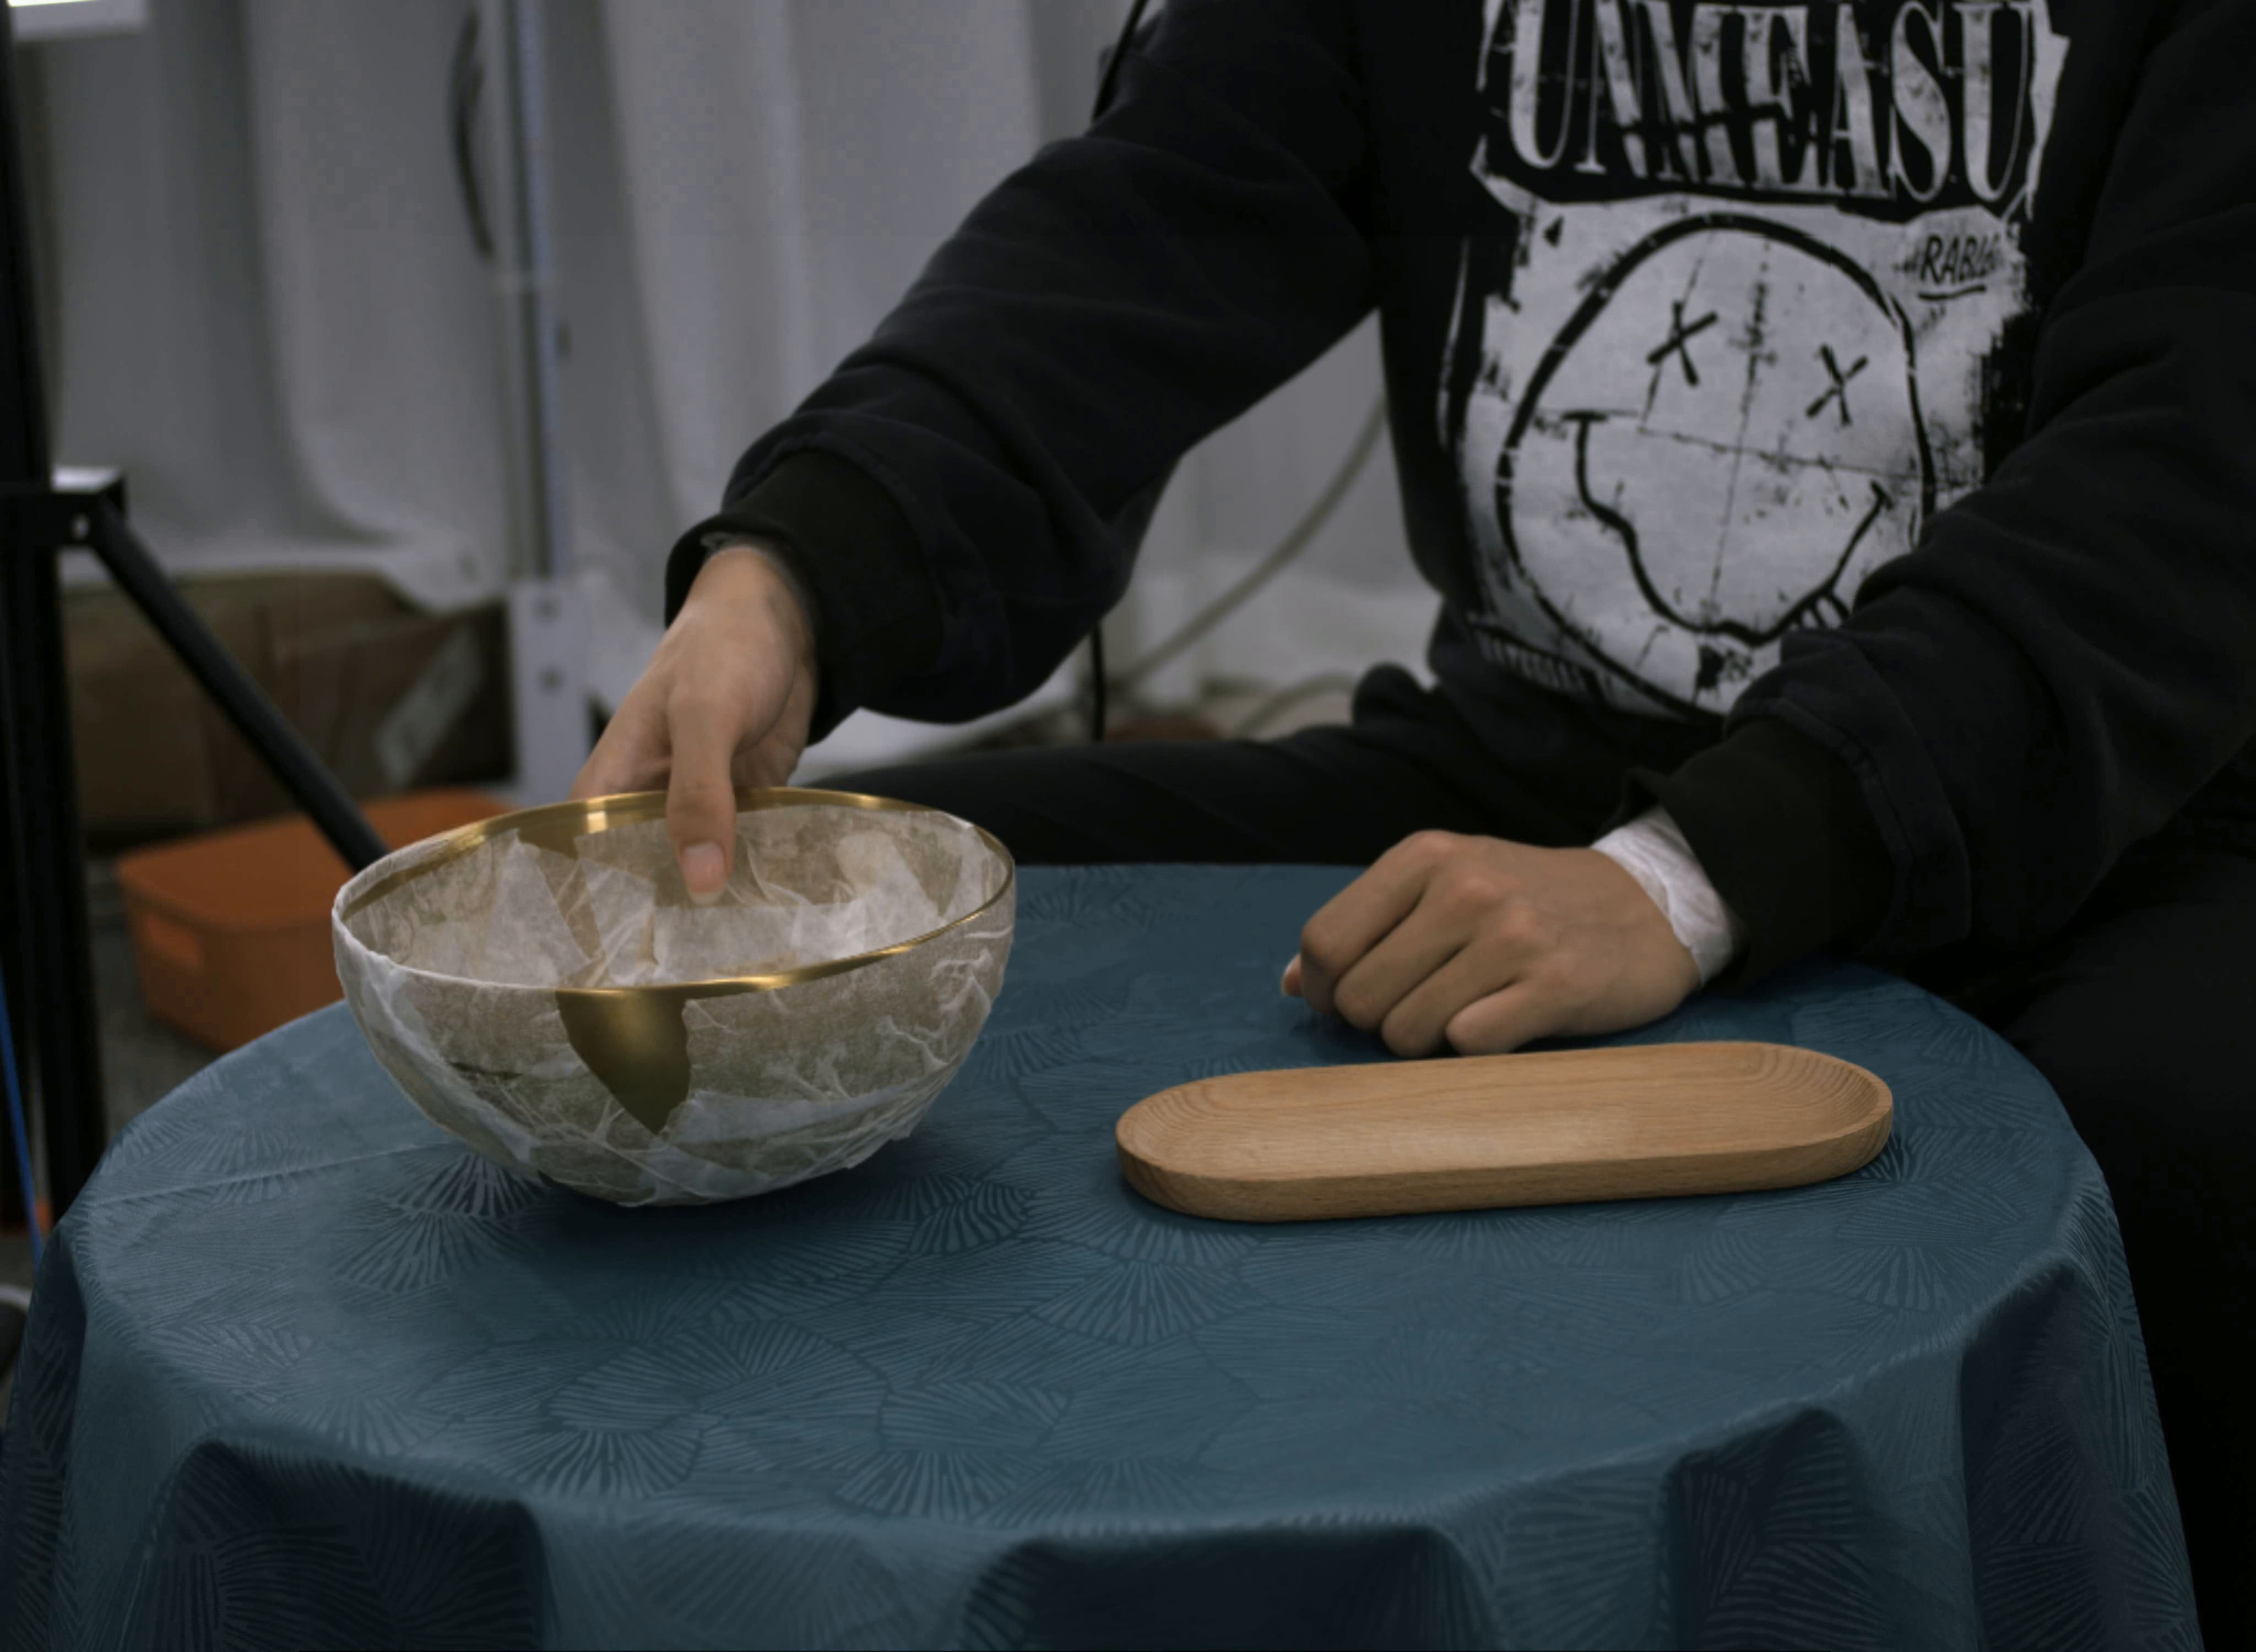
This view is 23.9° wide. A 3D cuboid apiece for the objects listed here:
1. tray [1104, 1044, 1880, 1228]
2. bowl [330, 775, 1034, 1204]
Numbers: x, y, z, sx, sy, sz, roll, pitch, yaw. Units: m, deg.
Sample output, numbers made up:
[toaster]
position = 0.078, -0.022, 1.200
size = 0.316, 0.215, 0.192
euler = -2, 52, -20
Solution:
[tray]
position = 0.108, 0.092, 1.568
size = 0.229, 0.020, 0.102
euler = -5, 14, -3
[bowl]
position = -0.127, 0.058, 1.584
size = 0.214, 0.094, 0.216
euler = -4, 16, 0
